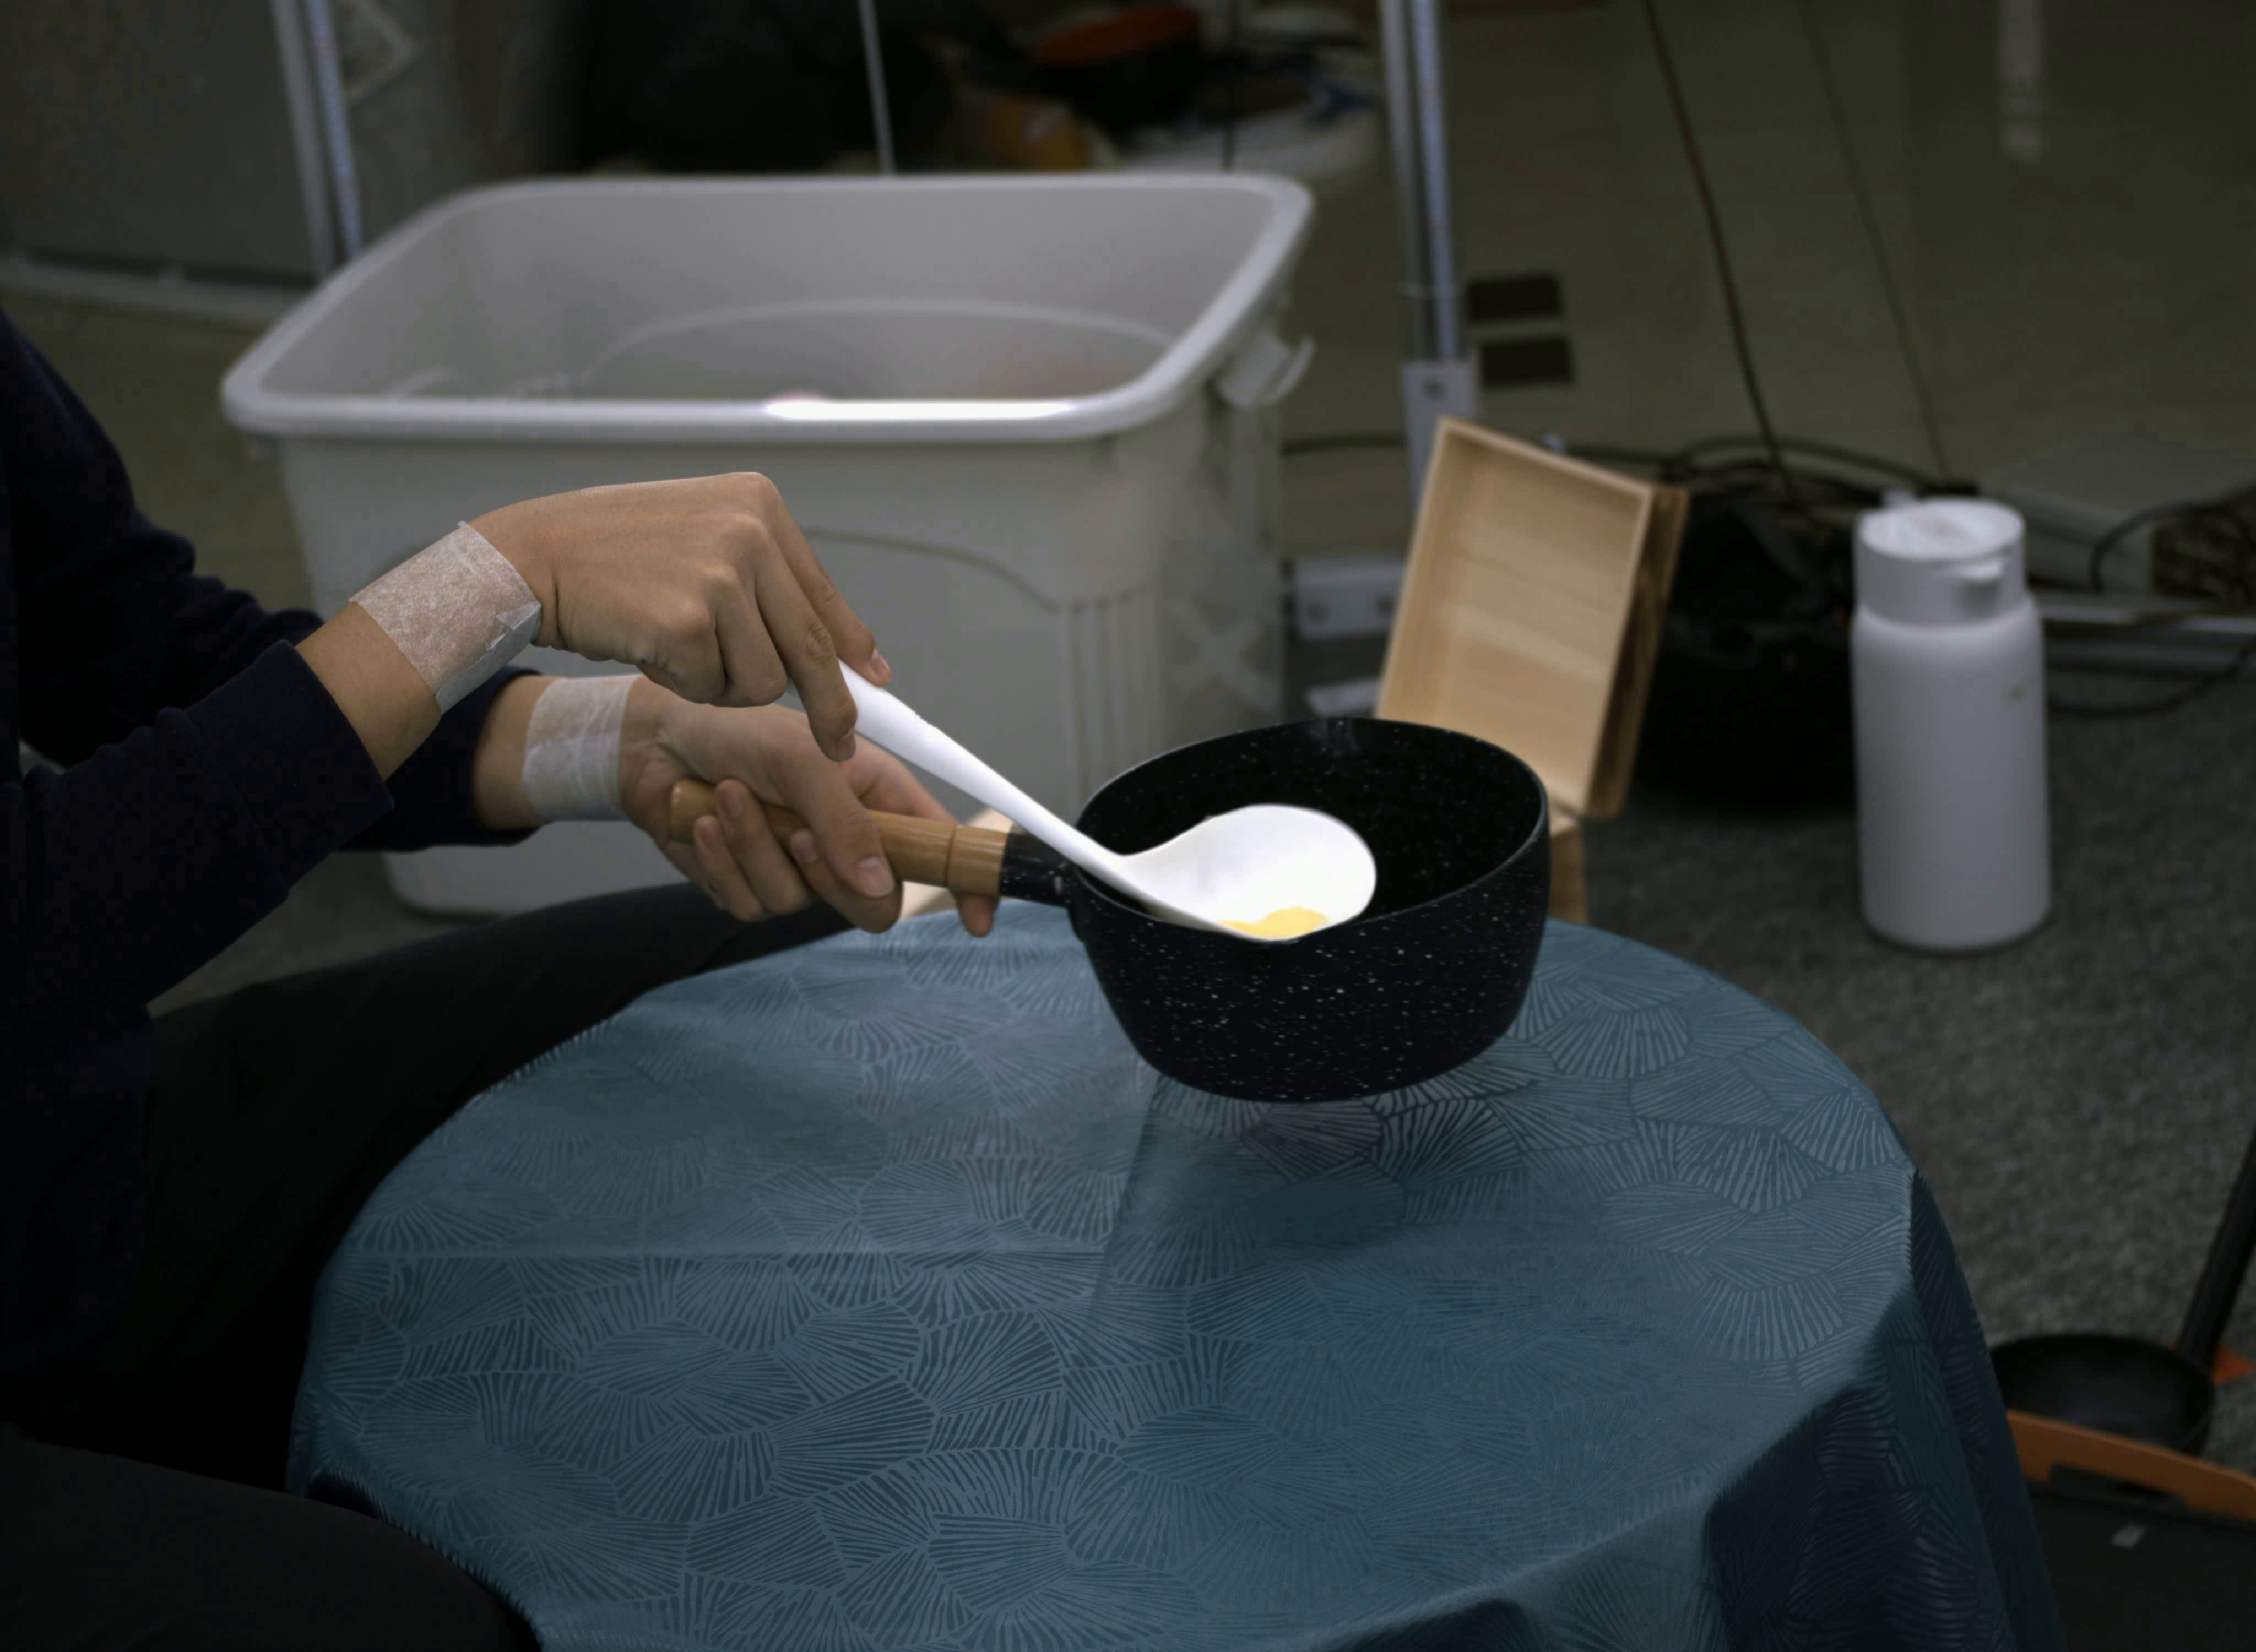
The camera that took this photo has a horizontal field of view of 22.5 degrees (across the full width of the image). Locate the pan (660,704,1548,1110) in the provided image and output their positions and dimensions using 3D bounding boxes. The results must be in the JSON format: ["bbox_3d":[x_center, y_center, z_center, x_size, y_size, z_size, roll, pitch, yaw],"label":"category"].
[{"bbox_3d":[-0.010,0.028,2.167,0.342,0.110,0.204,-1,27,10],"label":"pan"}]

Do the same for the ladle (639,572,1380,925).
[{"bbox_3d":[-0.041,-0.023,2.097,0.295,0.071,0.088,31,36,-24],"label":"ladle"}]
